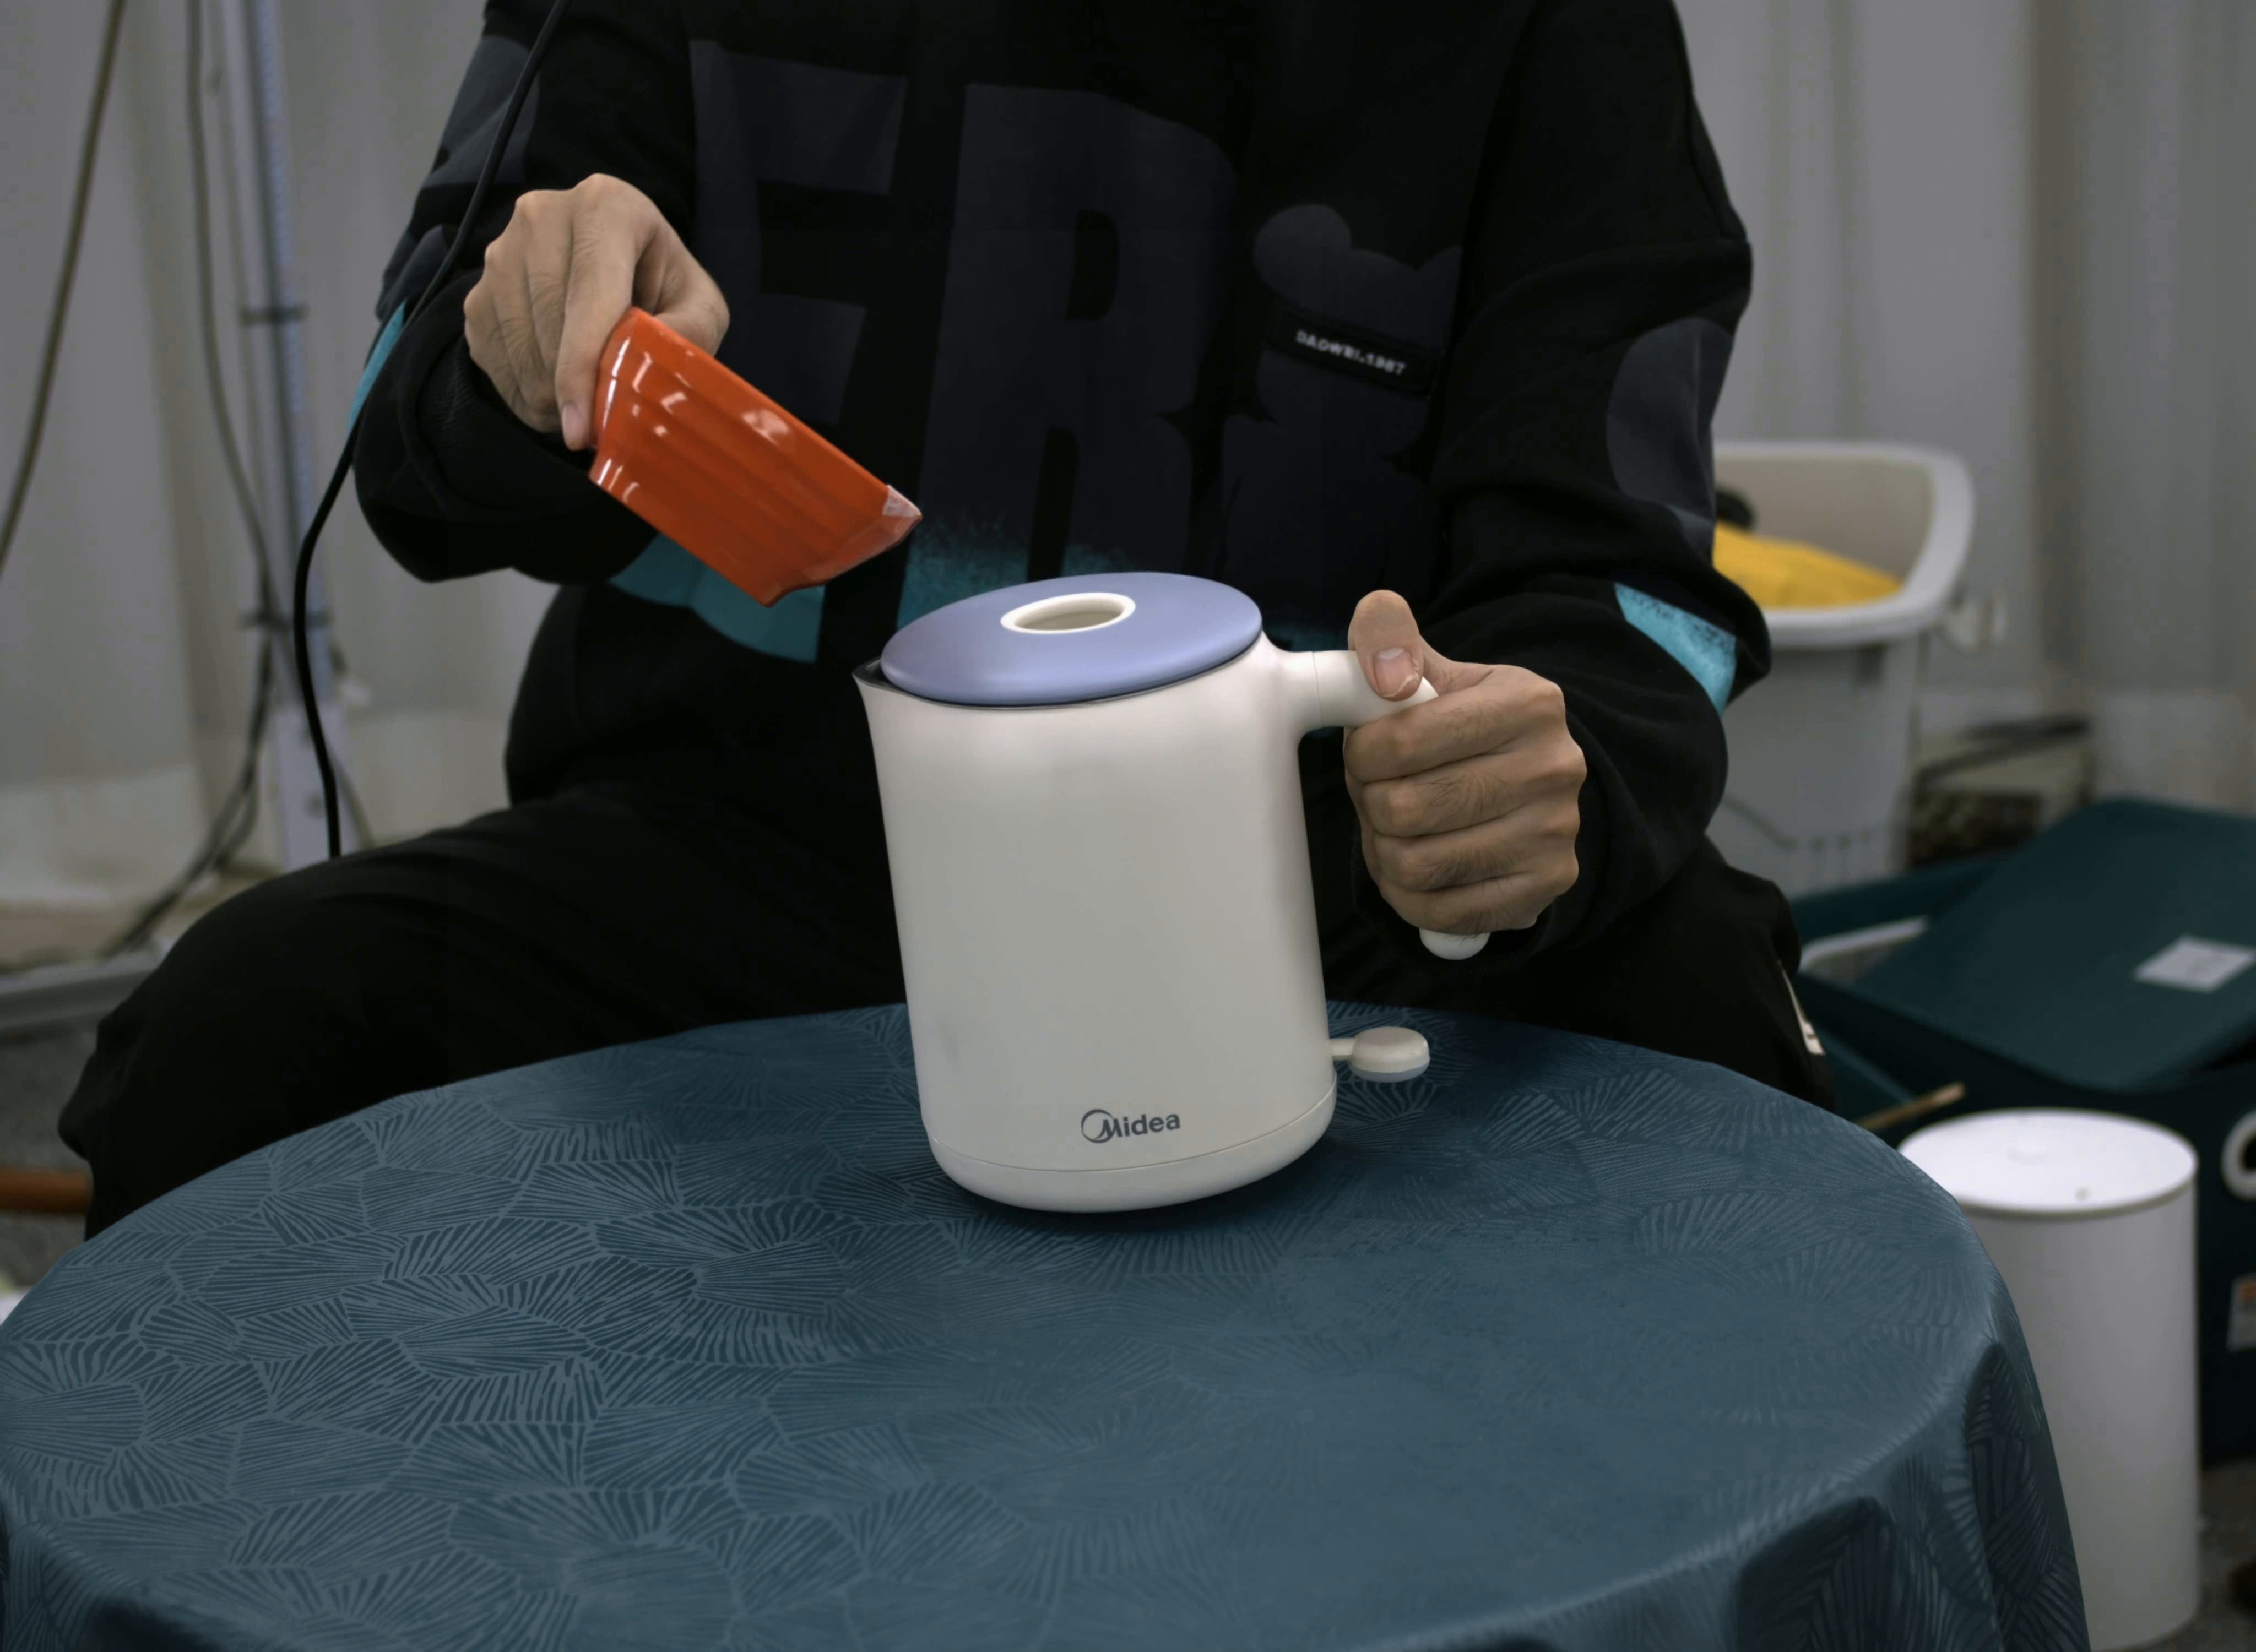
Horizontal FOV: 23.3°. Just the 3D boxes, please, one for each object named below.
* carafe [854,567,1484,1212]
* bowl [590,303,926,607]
[{"bbox_3d":[0.016,0.017,1.706,0.190,0.181,0.133,-5,18,-2],"label":"carafe"},{"bbox_3d":[-0.120,-0.105,1.647,0.119,0.051,0.119,34,1,-1],"label":"bowl"}]
